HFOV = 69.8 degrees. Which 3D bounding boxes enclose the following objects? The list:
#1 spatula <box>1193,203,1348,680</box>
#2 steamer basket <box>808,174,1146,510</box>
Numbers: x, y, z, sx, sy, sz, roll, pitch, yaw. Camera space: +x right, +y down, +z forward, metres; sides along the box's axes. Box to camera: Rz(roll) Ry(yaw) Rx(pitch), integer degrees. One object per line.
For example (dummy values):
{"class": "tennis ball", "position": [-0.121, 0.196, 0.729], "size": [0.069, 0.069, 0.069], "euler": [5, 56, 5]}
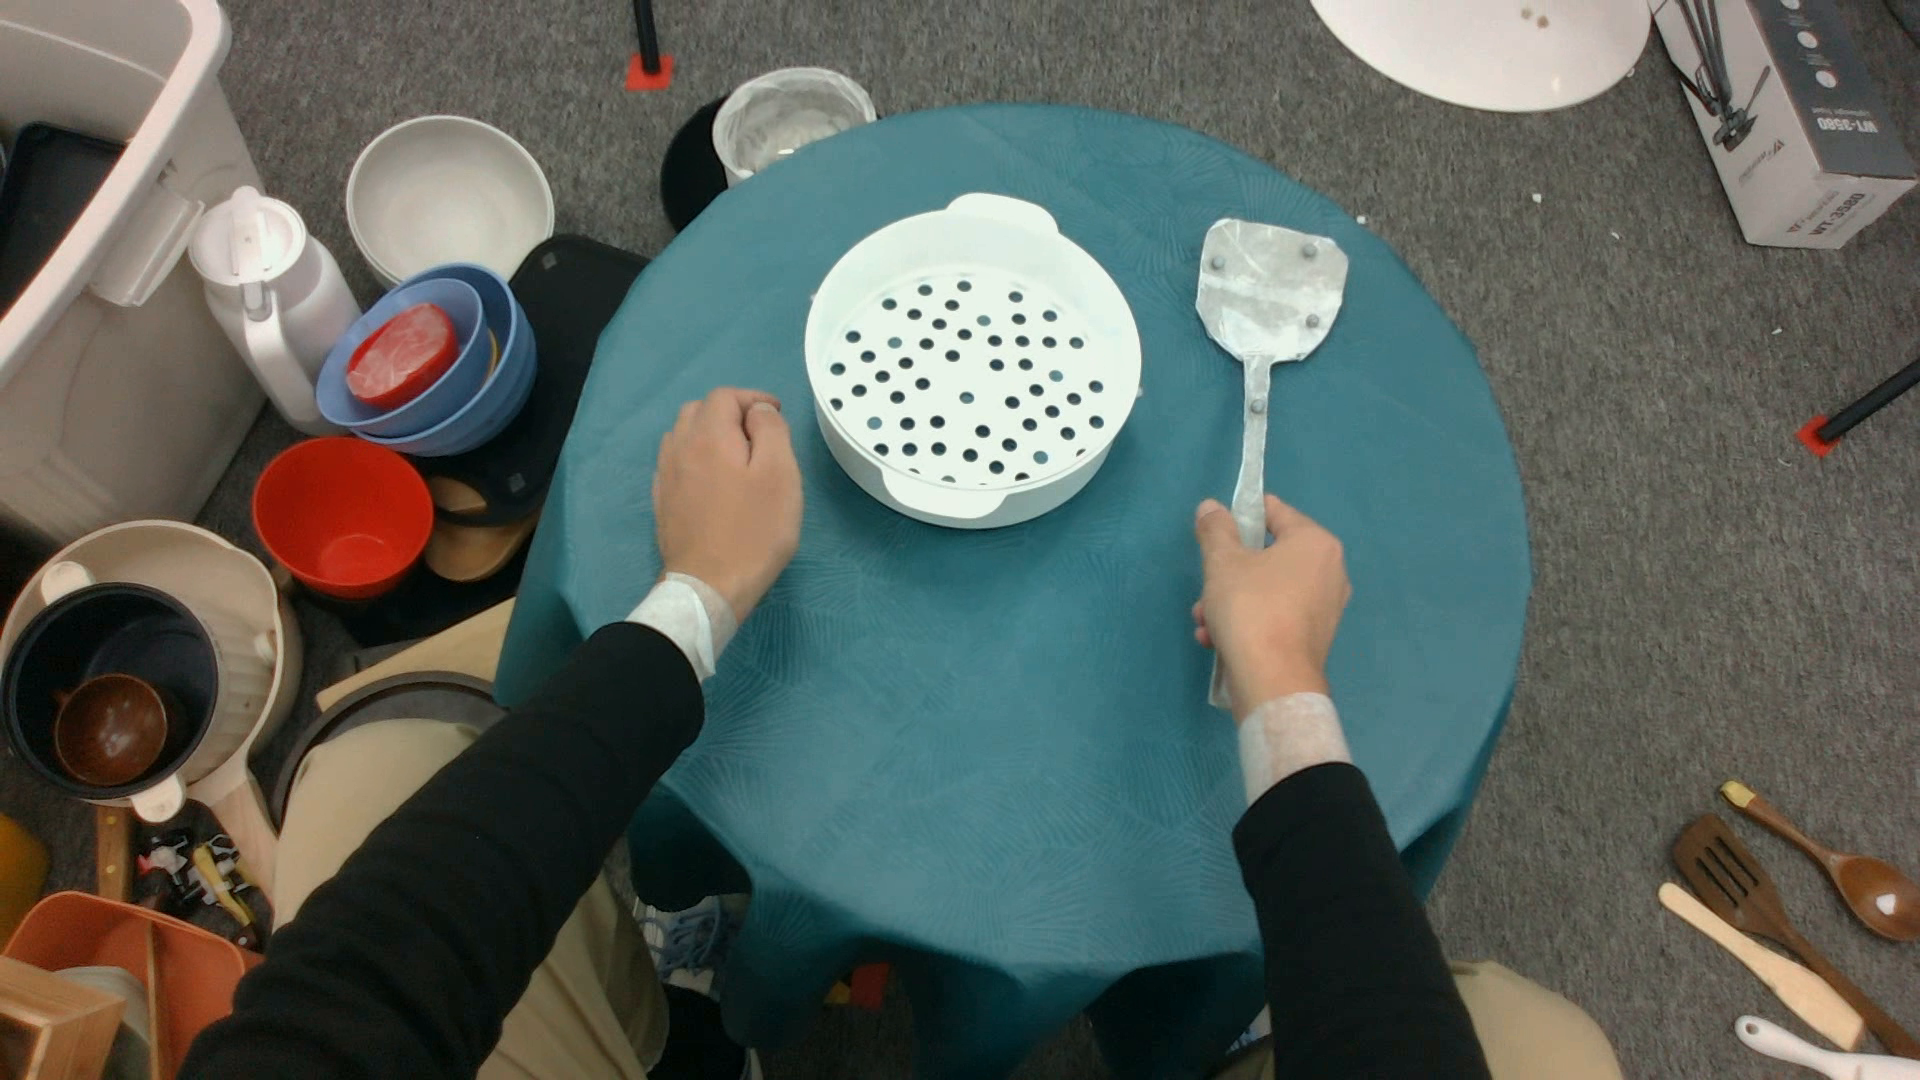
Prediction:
{"class": "spatula", "position": [0.177, -0.073, 0.833], "size": [0.099, 0.044, 0.367], "euler": [15, 51, 1]}
{"class": "steamer basket", "position": [0.009, -0.115, 0.845], "size": [0.202, 0.069, 0.231], "euler": [12, 65, 2]}
